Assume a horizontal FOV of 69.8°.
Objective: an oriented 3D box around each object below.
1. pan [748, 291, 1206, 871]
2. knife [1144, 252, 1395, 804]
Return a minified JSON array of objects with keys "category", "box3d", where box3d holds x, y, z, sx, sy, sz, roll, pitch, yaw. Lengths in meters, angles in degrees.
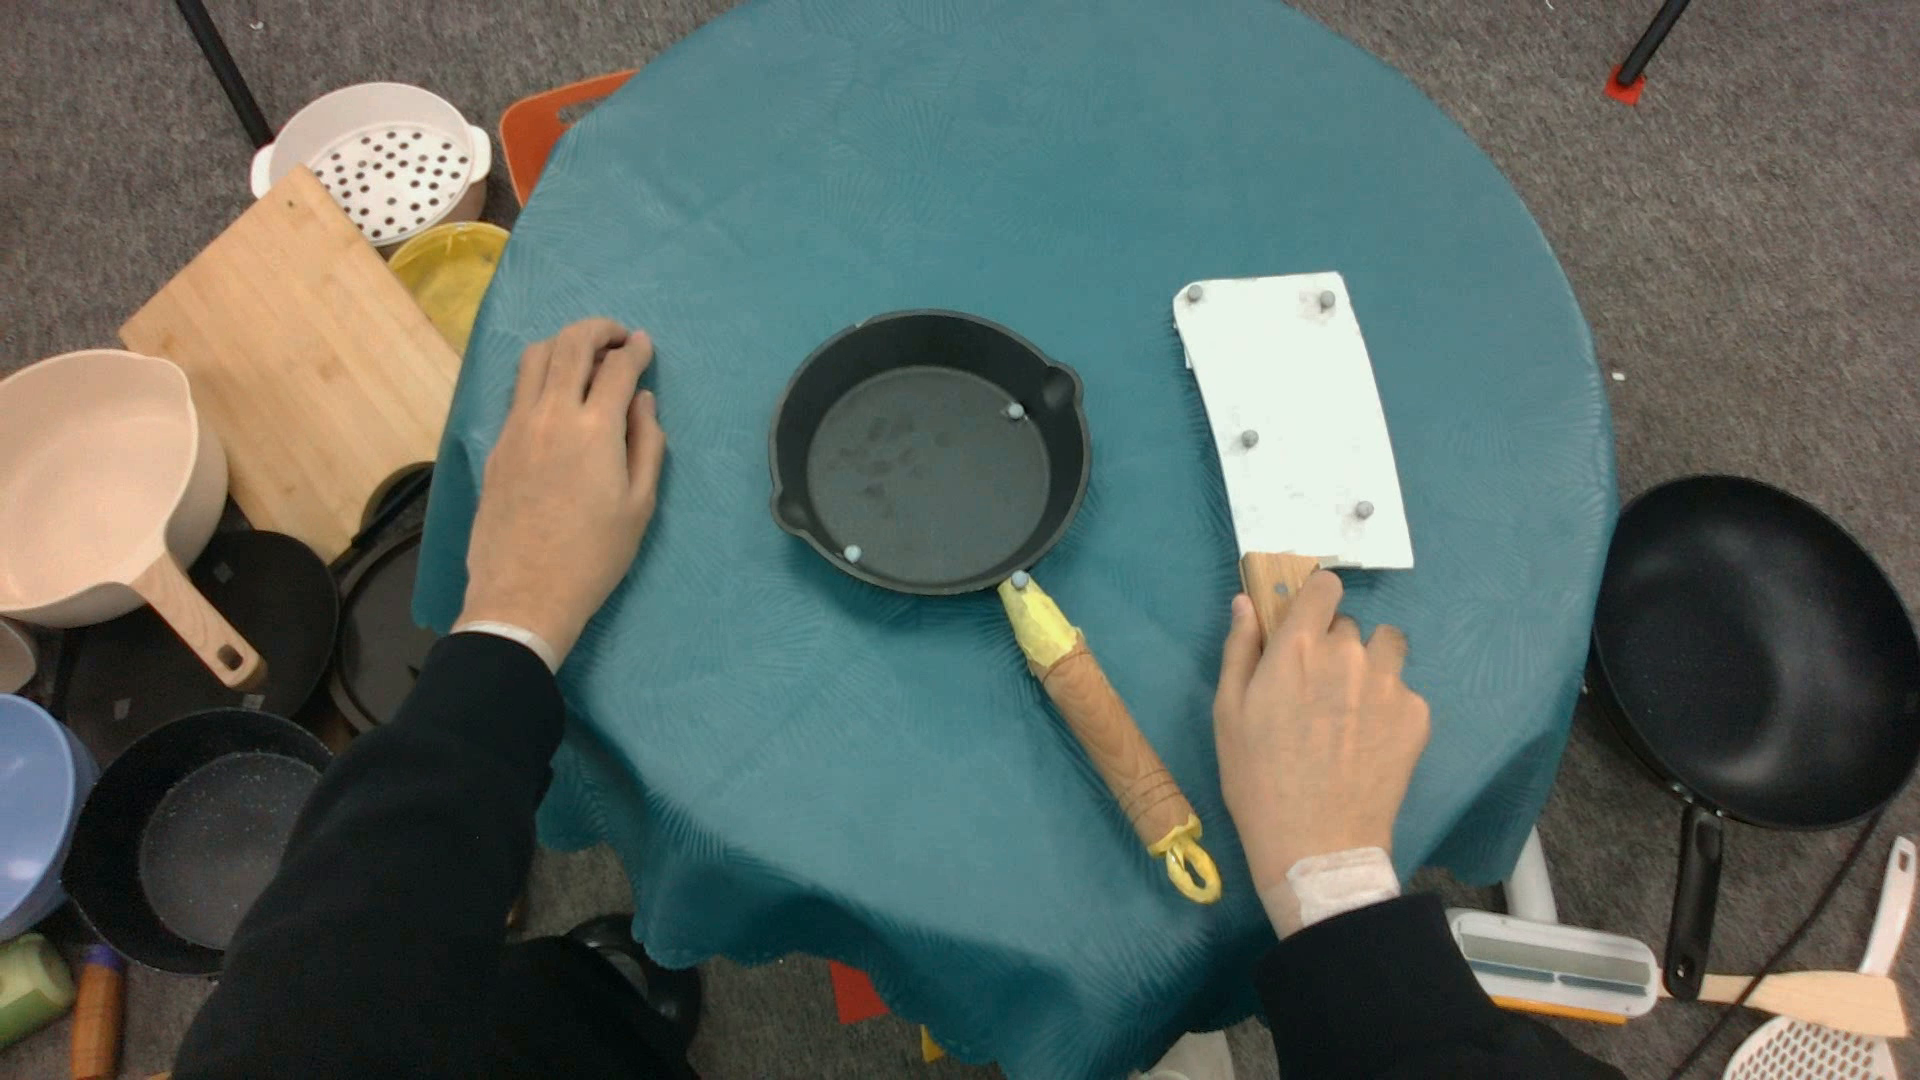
[{"category":"pan","box3d":[0.017,0.016,0.646,0.169,0.049,0.324,-25,69,-15]},{"category":"knife","box3d":[0.157,-0.023,0.683,0.114,0.021,0.316,2,60,-5]}]
